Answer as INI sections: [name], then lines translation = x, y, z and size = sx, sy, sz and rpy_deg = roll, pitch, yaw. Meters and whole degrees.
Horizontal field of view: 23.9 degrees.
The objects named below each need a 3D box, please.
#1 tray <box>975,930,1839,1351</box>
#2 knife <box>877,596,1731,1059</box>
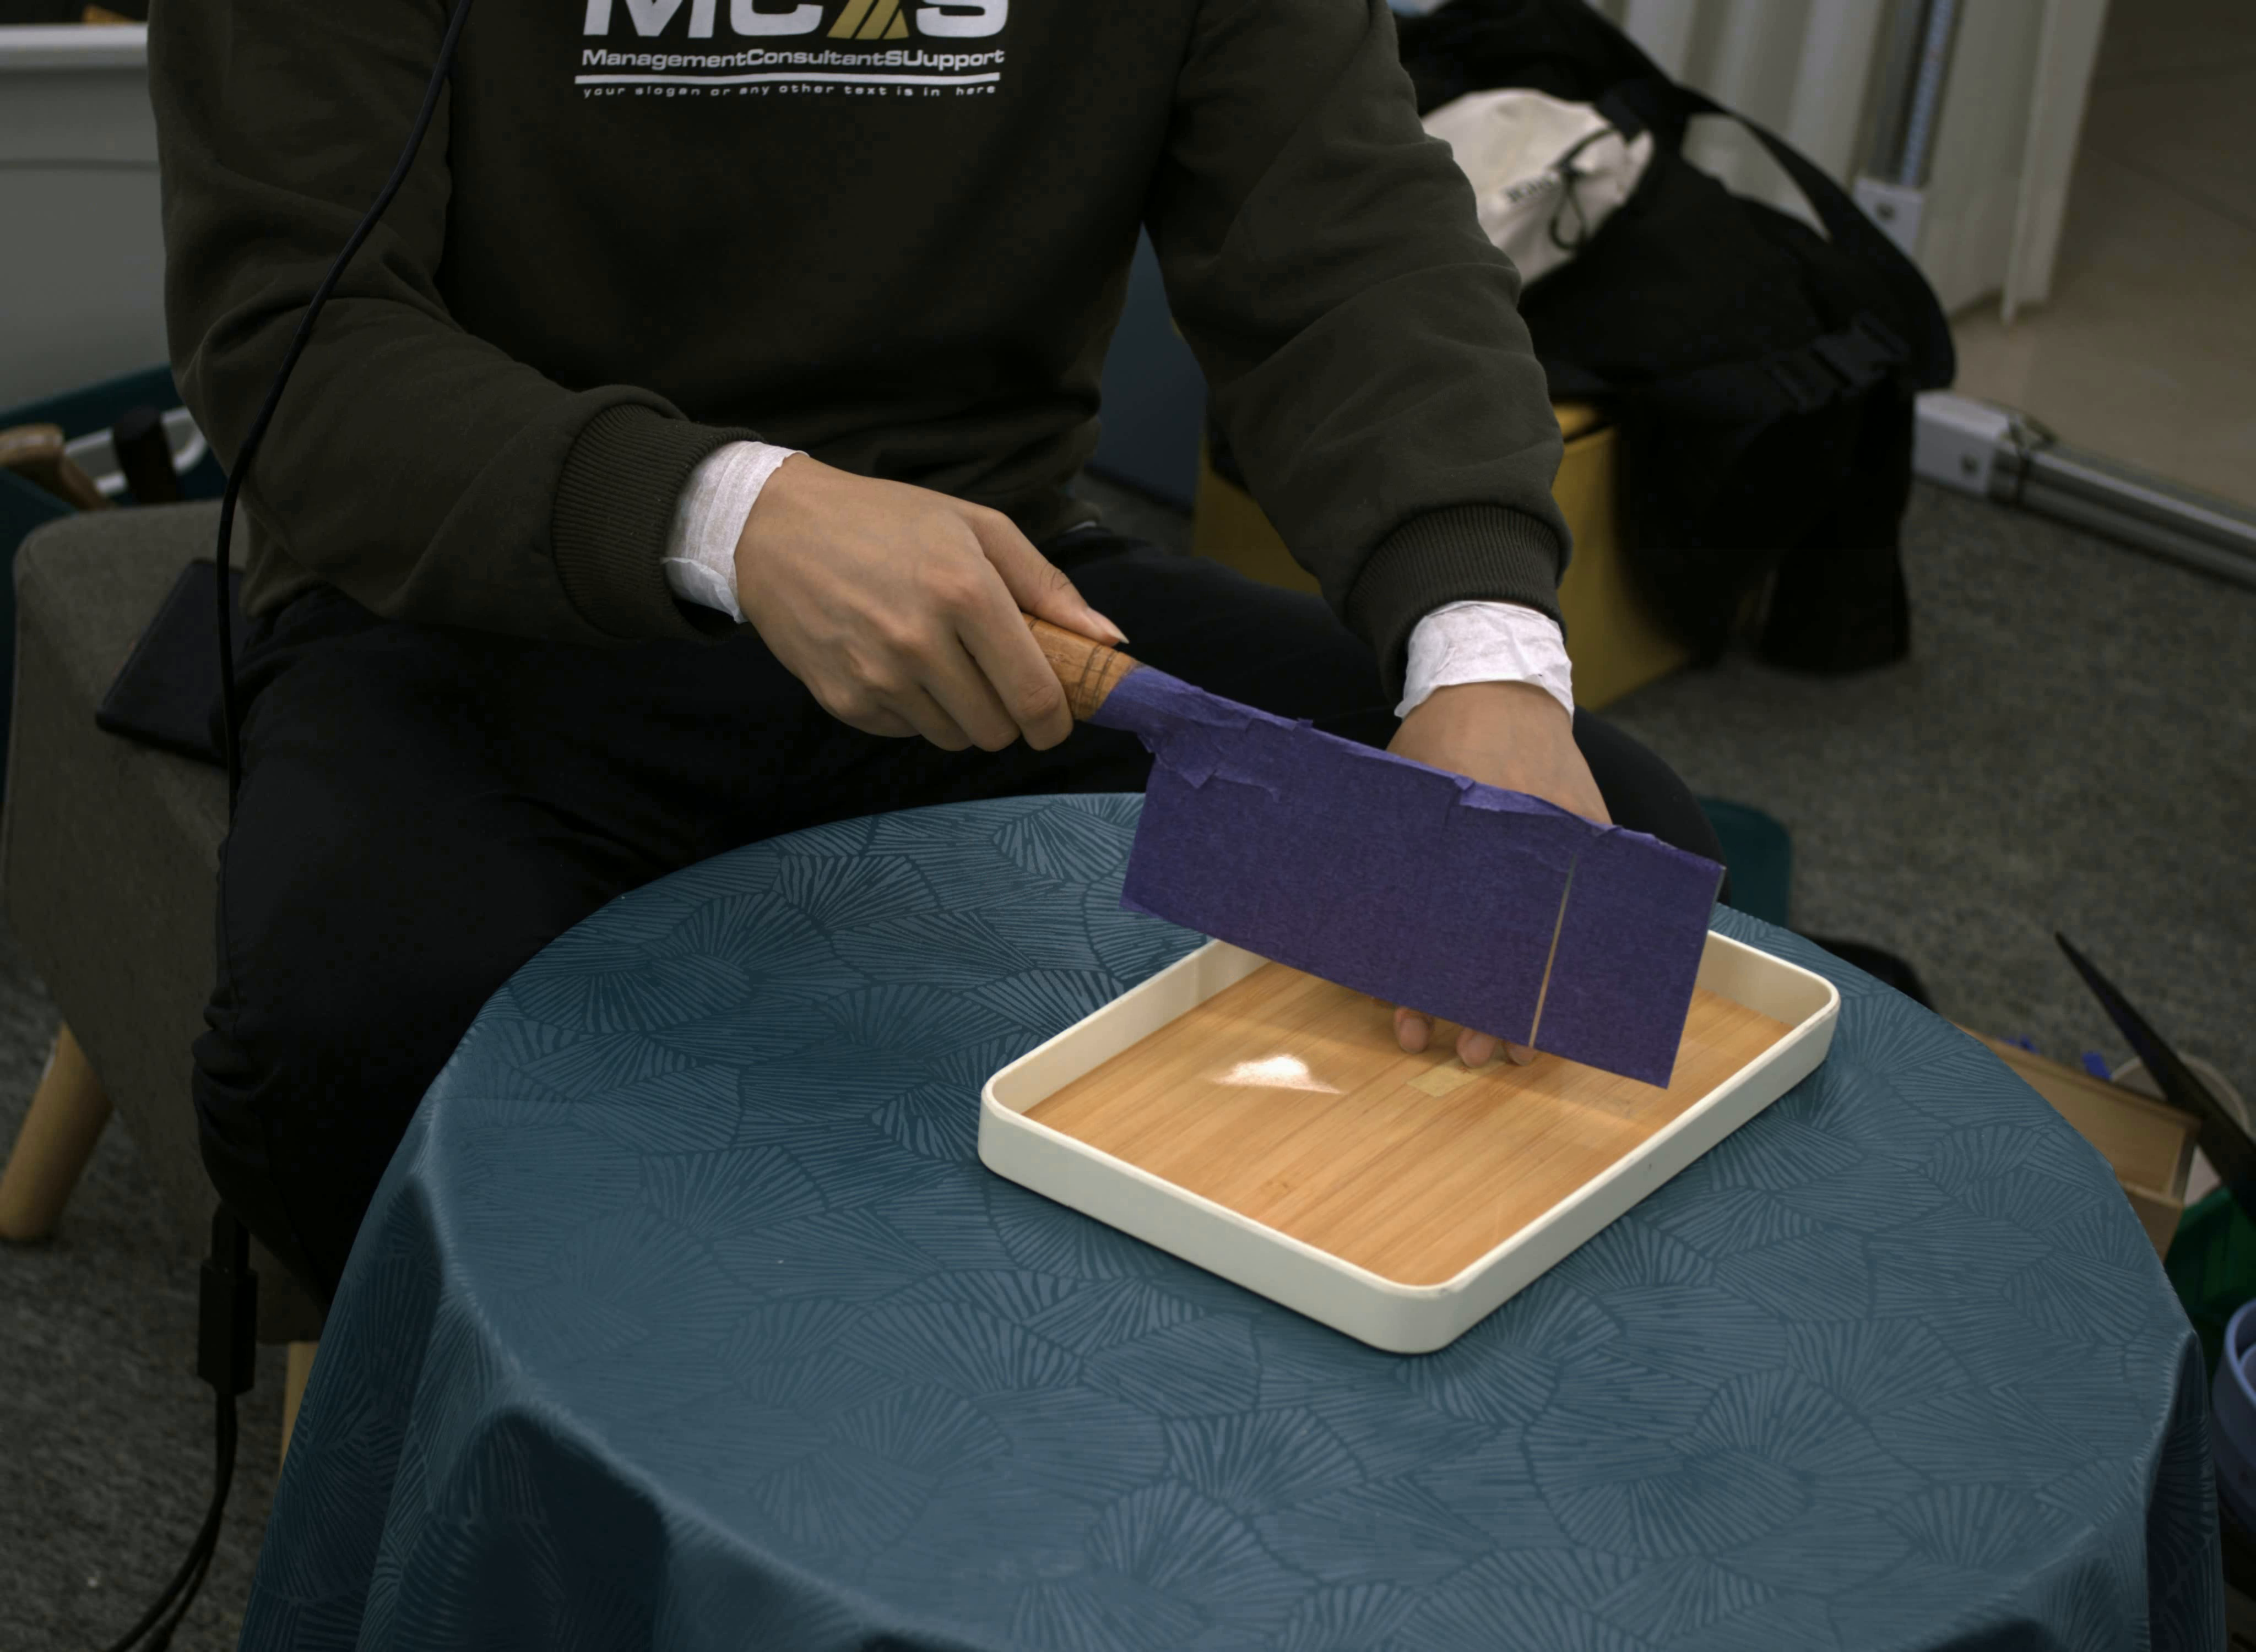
[tray]
translation = 0.102, 0.086, 1.874
size = 0.193, 0.027, 0.299
rpy_deg = 22, 31, 29
[knife]
translation = 0.053, 0.005, 1.875
size = 0.316, 0.103, 0.032
rpy_deg = 18, 22, 15
